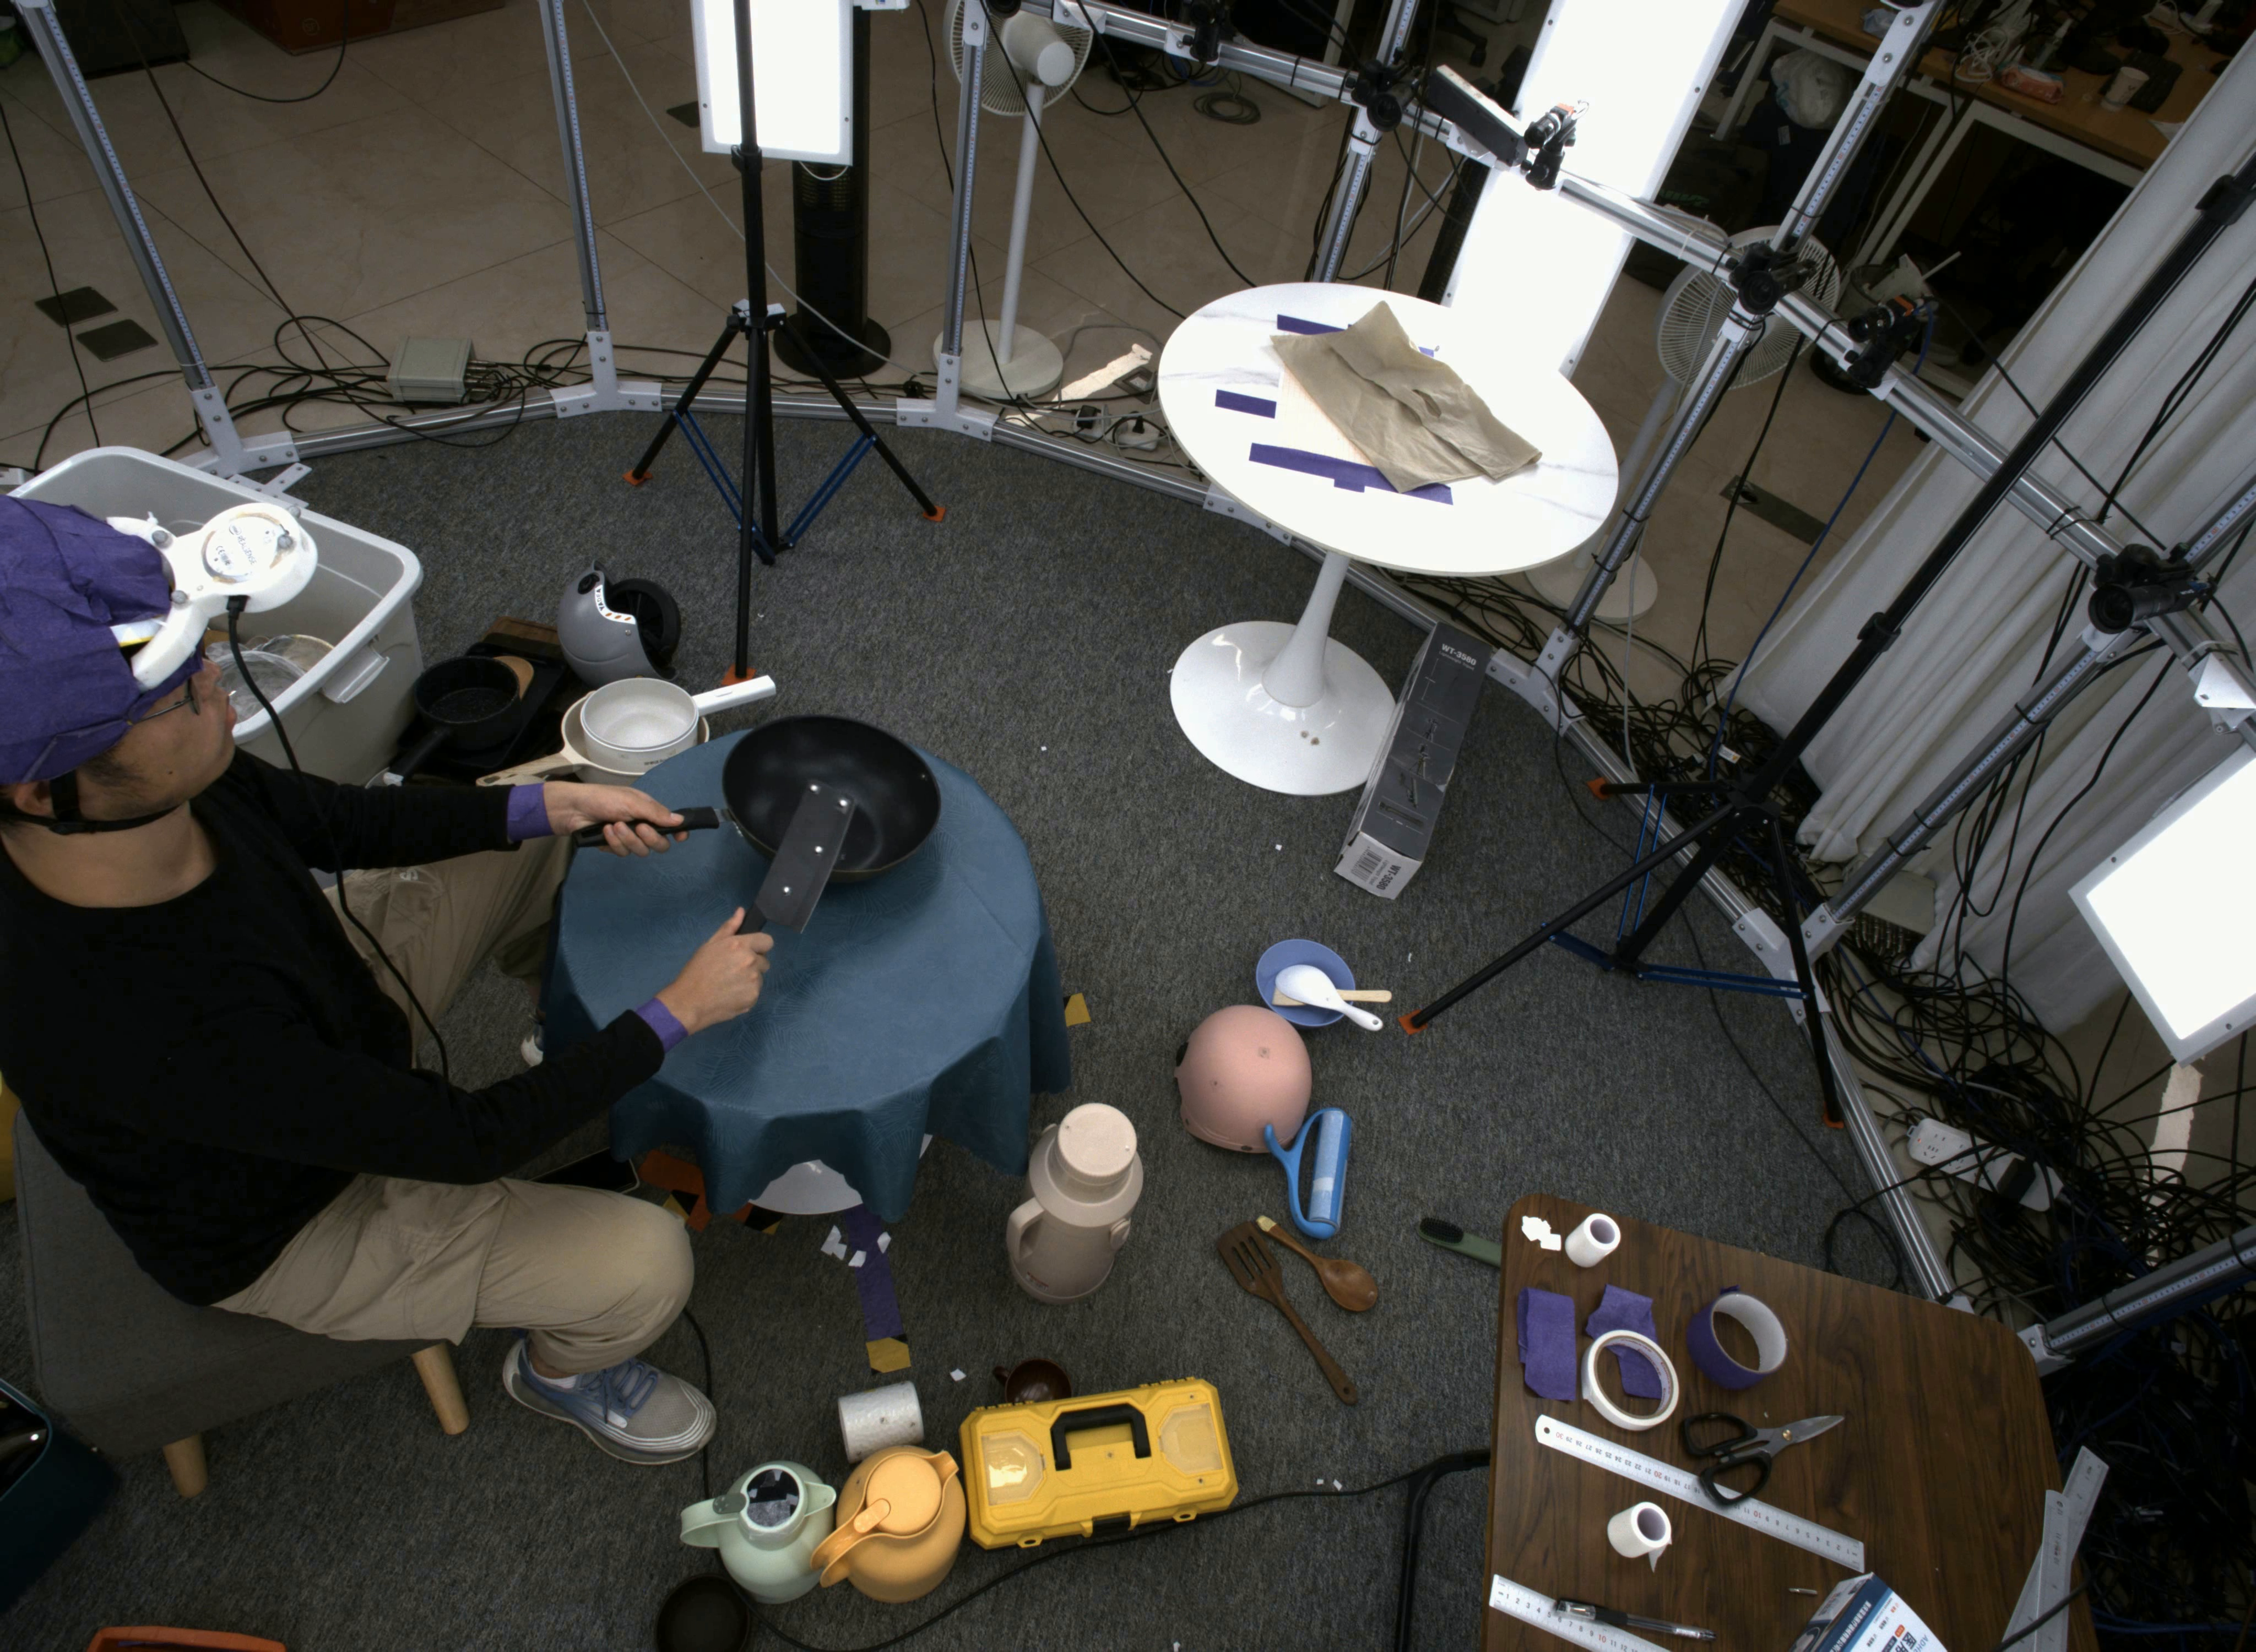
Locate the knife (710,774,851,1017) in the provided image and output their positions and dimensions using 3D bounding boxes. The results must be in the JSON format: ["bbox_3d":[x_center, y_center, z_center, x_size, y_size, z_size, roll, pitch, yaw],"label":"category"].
[{"bbox_3d":[-0.409,0.079,1.522,0.082,0.020,0.301,31,67,-19],"label":"knife"}]

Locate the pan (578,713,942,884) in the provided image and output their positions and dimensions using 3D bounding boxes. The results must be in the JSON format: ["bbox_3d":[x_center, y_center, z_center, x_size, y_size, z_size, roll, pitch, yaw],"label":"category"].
[{"bbox_3d":[-0.460,-0.007,1.630,0.468,0.088,0.280,-13,54,-34],"label":"pan"}]
